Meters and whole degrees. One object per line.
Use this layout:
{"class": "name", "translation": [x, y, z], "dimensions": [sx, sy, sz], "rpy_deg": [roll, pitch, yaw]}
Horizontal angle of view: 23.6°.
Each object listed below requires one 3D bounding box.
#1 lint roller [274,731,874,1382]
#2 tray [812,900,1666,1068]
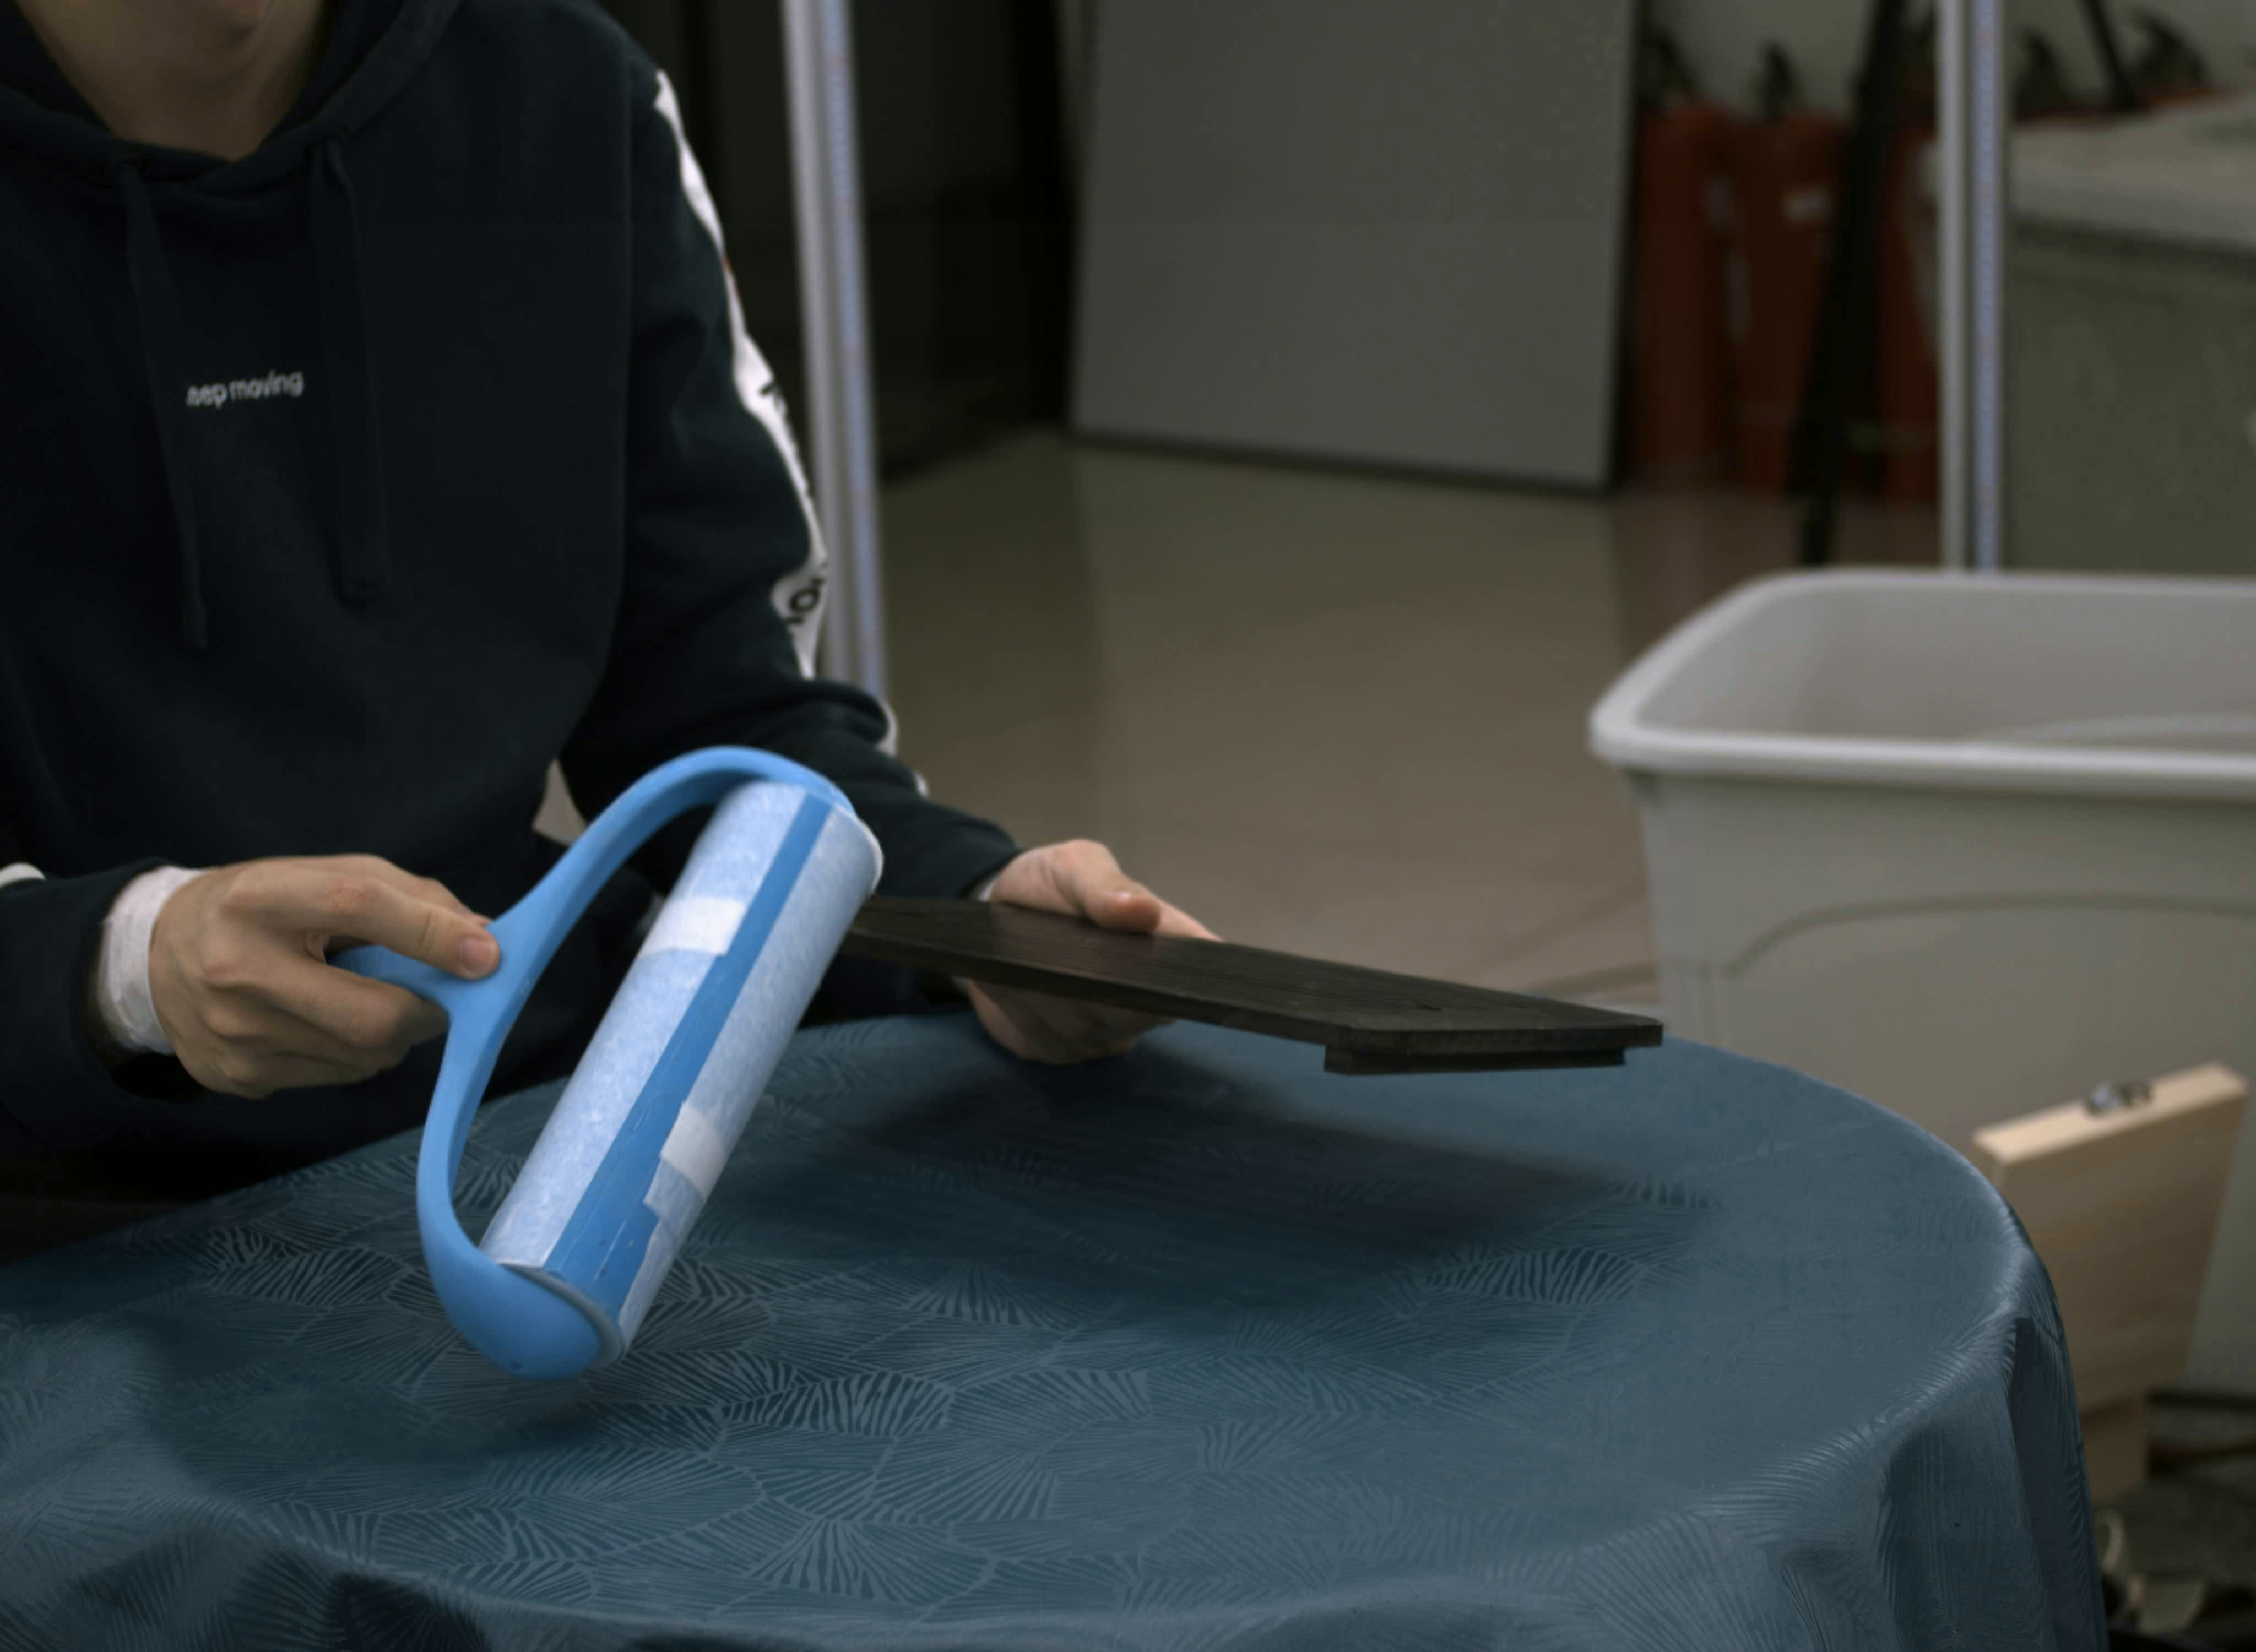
{"class": "lint roller", "translation": [-0.191, 0.061, 1.661], "dimensions": [0.180, 0.068, 0.229], "rpy_deg": [7, 54, 20]}
{"class": "tray", "translation": [0.011, 0.051, 1.778], "dimensions": [0.308, 0.019, 0.166], "rpy_deg": [8, 3, 40]}
